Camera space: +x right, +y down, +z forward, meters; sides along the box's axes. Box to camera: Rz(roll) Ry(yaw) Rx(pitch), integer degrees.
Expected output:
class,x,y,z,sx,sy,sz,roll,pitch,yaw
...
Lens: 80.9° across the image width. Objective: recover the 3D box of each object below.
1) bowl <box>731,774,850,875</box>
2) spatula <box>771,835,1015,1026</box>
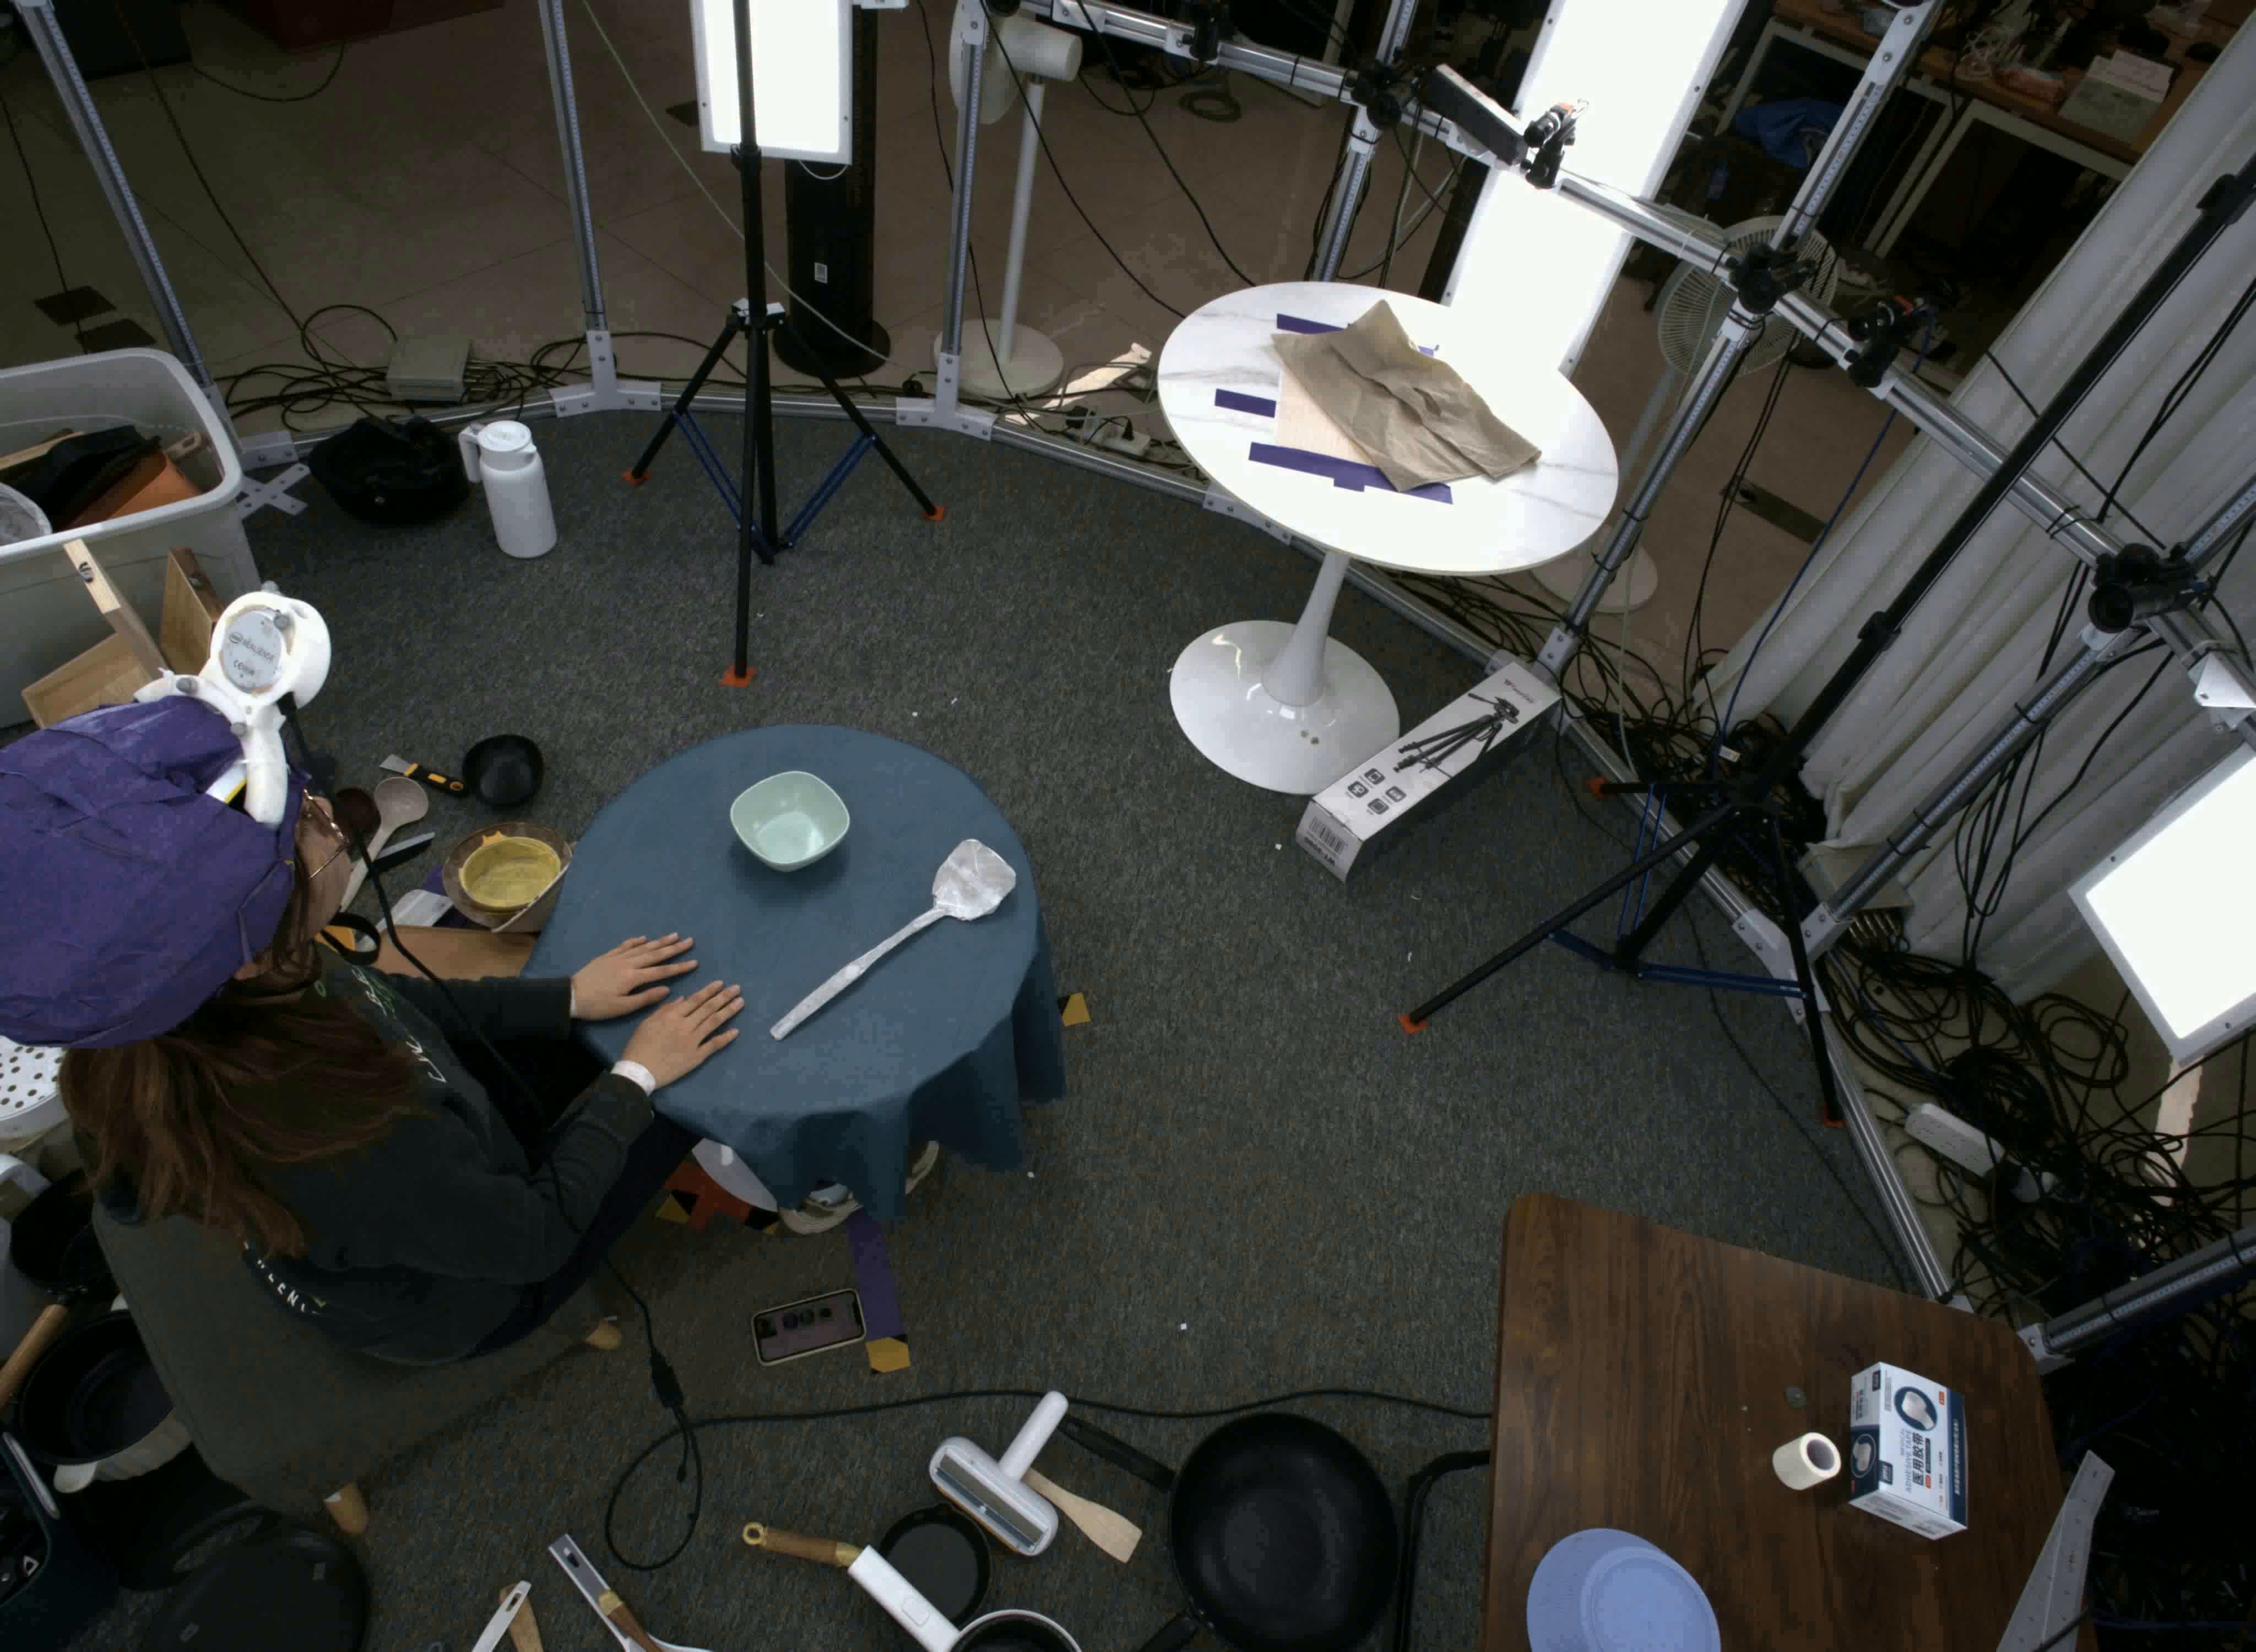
class,x,y,z,sx,sy,sz,roll,pitch,yaw
bowl,-0.438,0.006,1.686,0.151,0.060,0.148,7,50,-7
spatula,-0.296,0.137,1.635,0.097,0.045,0.365,42,55,16
